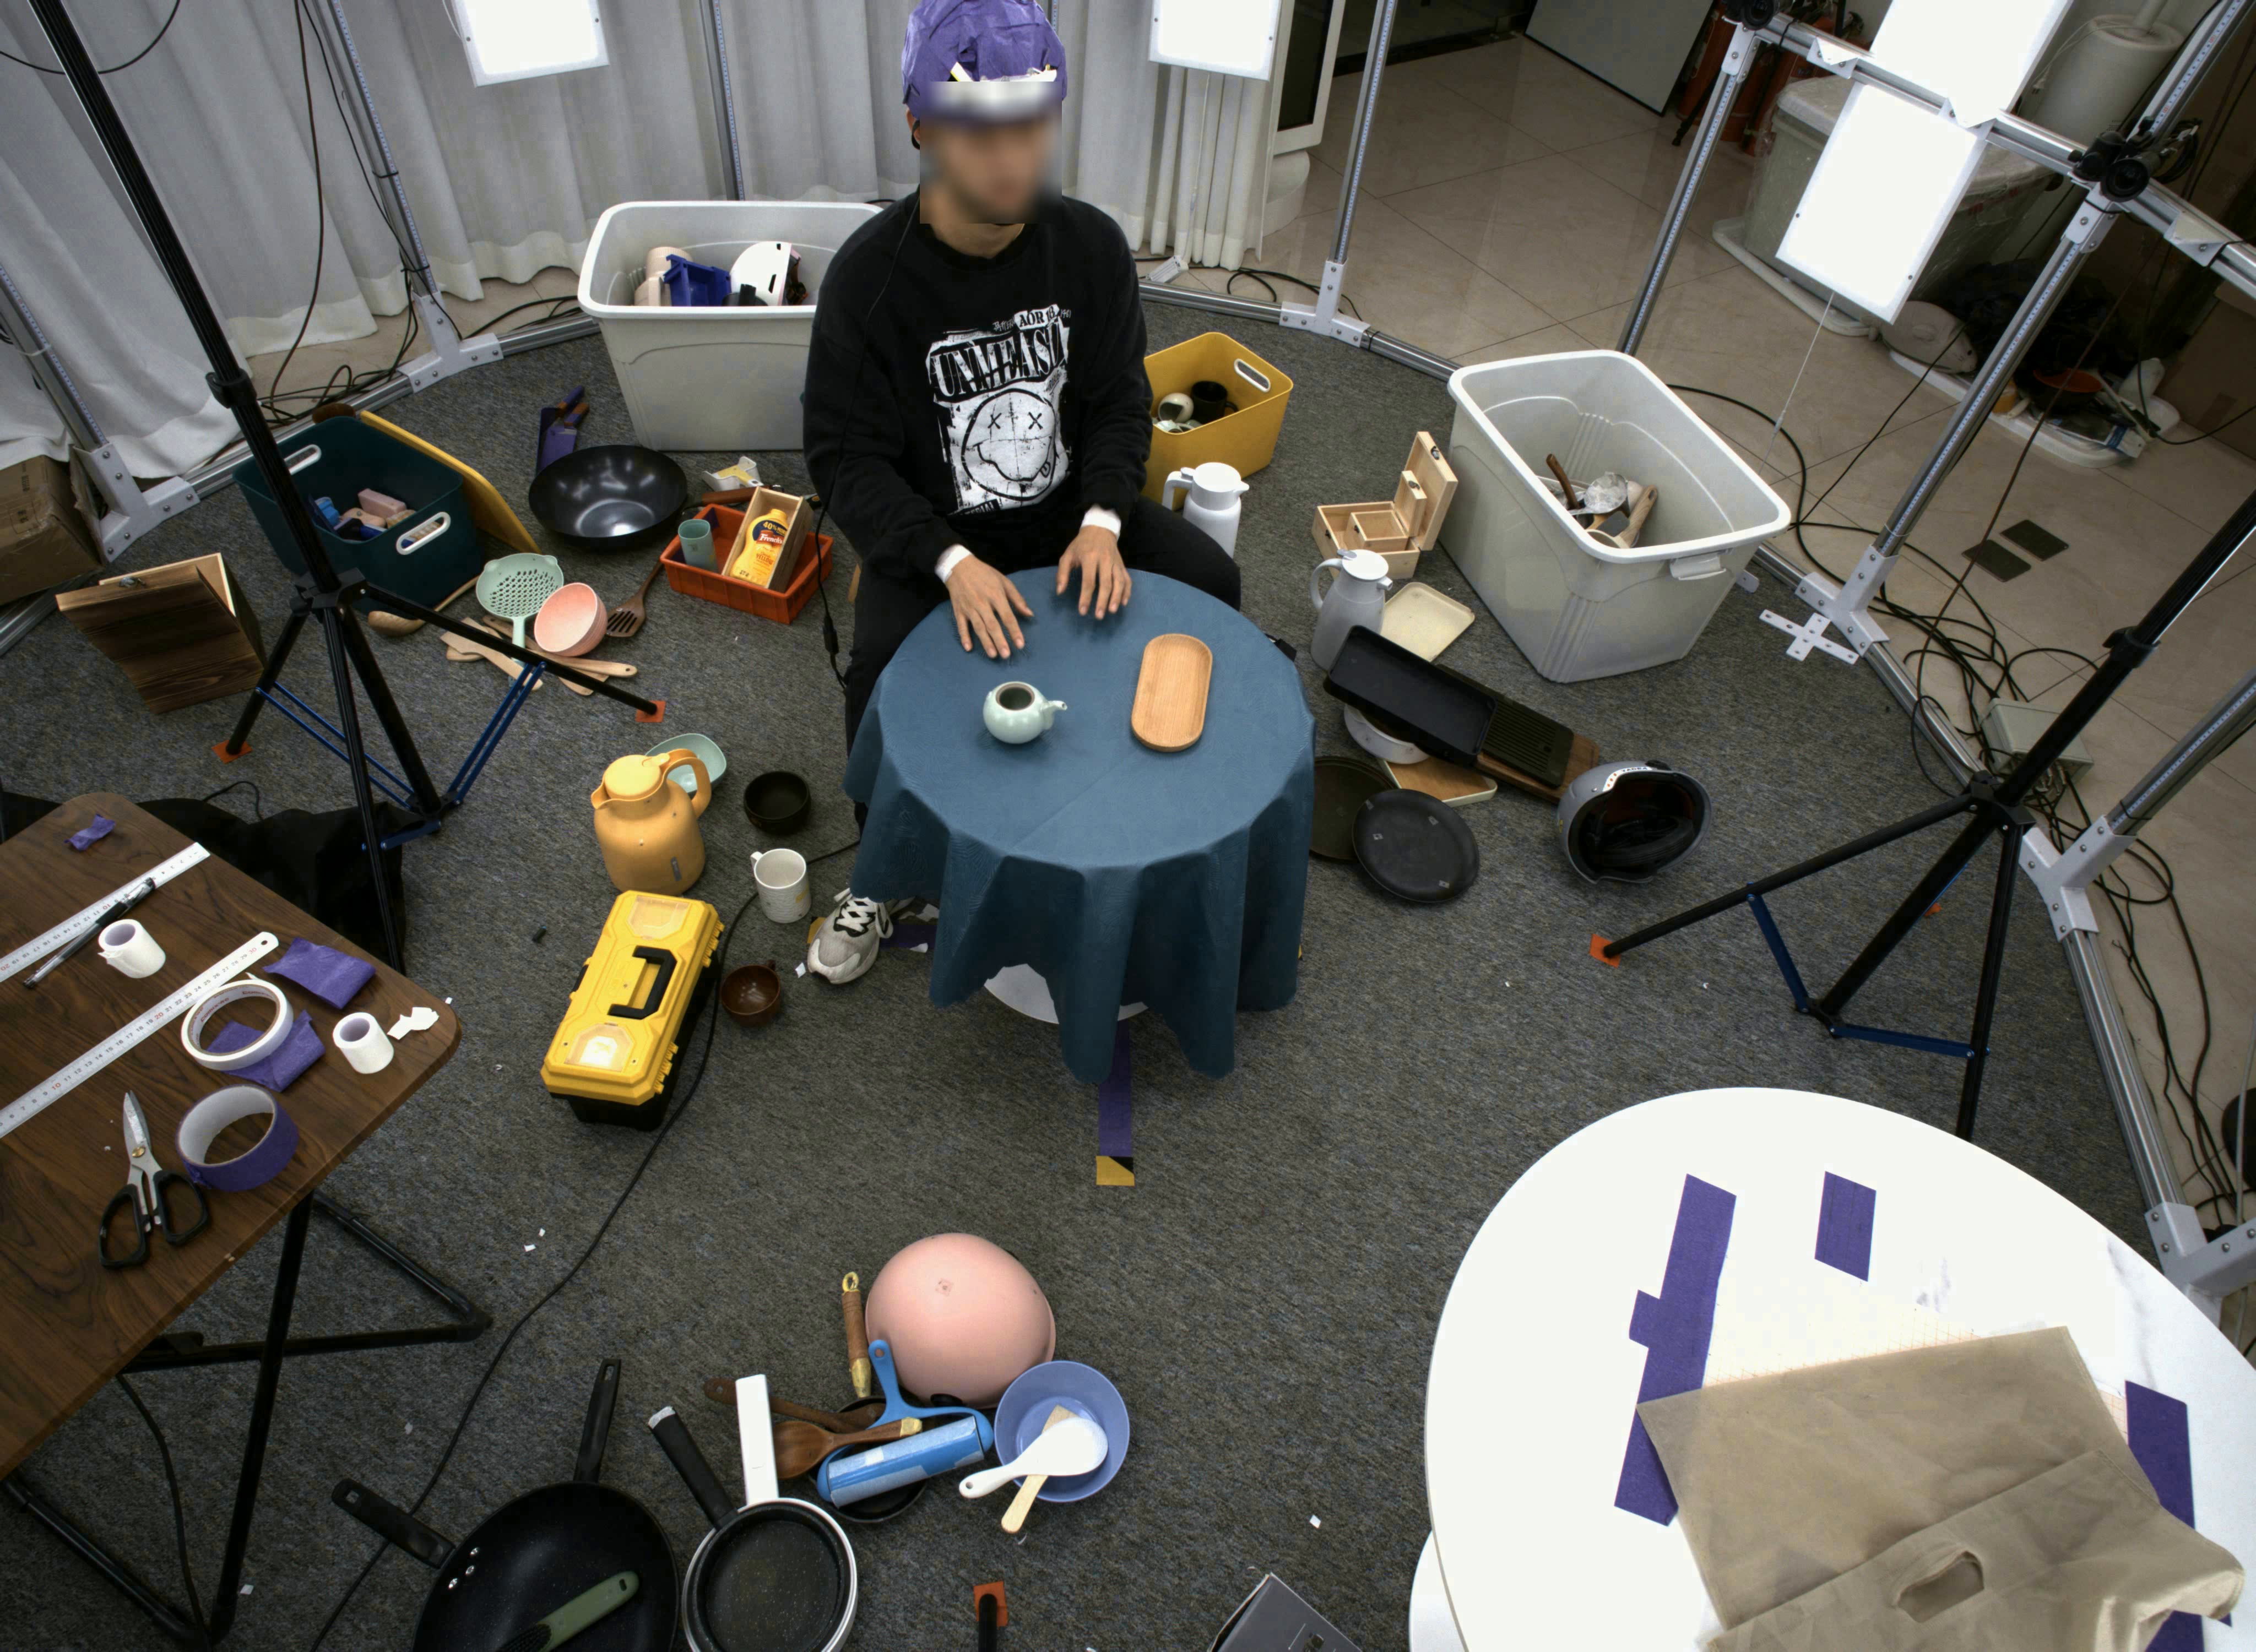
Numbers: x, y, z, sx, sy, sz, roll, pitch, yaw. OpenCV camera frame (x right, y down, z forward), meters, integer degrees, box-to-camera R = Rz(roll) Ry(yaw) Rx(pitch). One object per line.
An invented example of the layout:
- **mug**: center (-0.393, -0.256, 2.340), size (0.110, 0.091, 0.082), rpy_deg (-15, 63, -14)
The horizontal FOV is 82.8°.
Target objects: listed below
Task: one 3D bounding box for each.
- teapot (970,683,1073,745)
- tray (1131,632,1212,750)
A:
- **teapot**: center (-0.145, -0.154, 1.748), size (0.144, 0.073, 0.090), rpy_deg (13, 49, 8)
- **tray**: center (0.063, -0.196, 1.833), size (0.101, 0.020, 0.237), rpy_deg (8, 48, 2)
